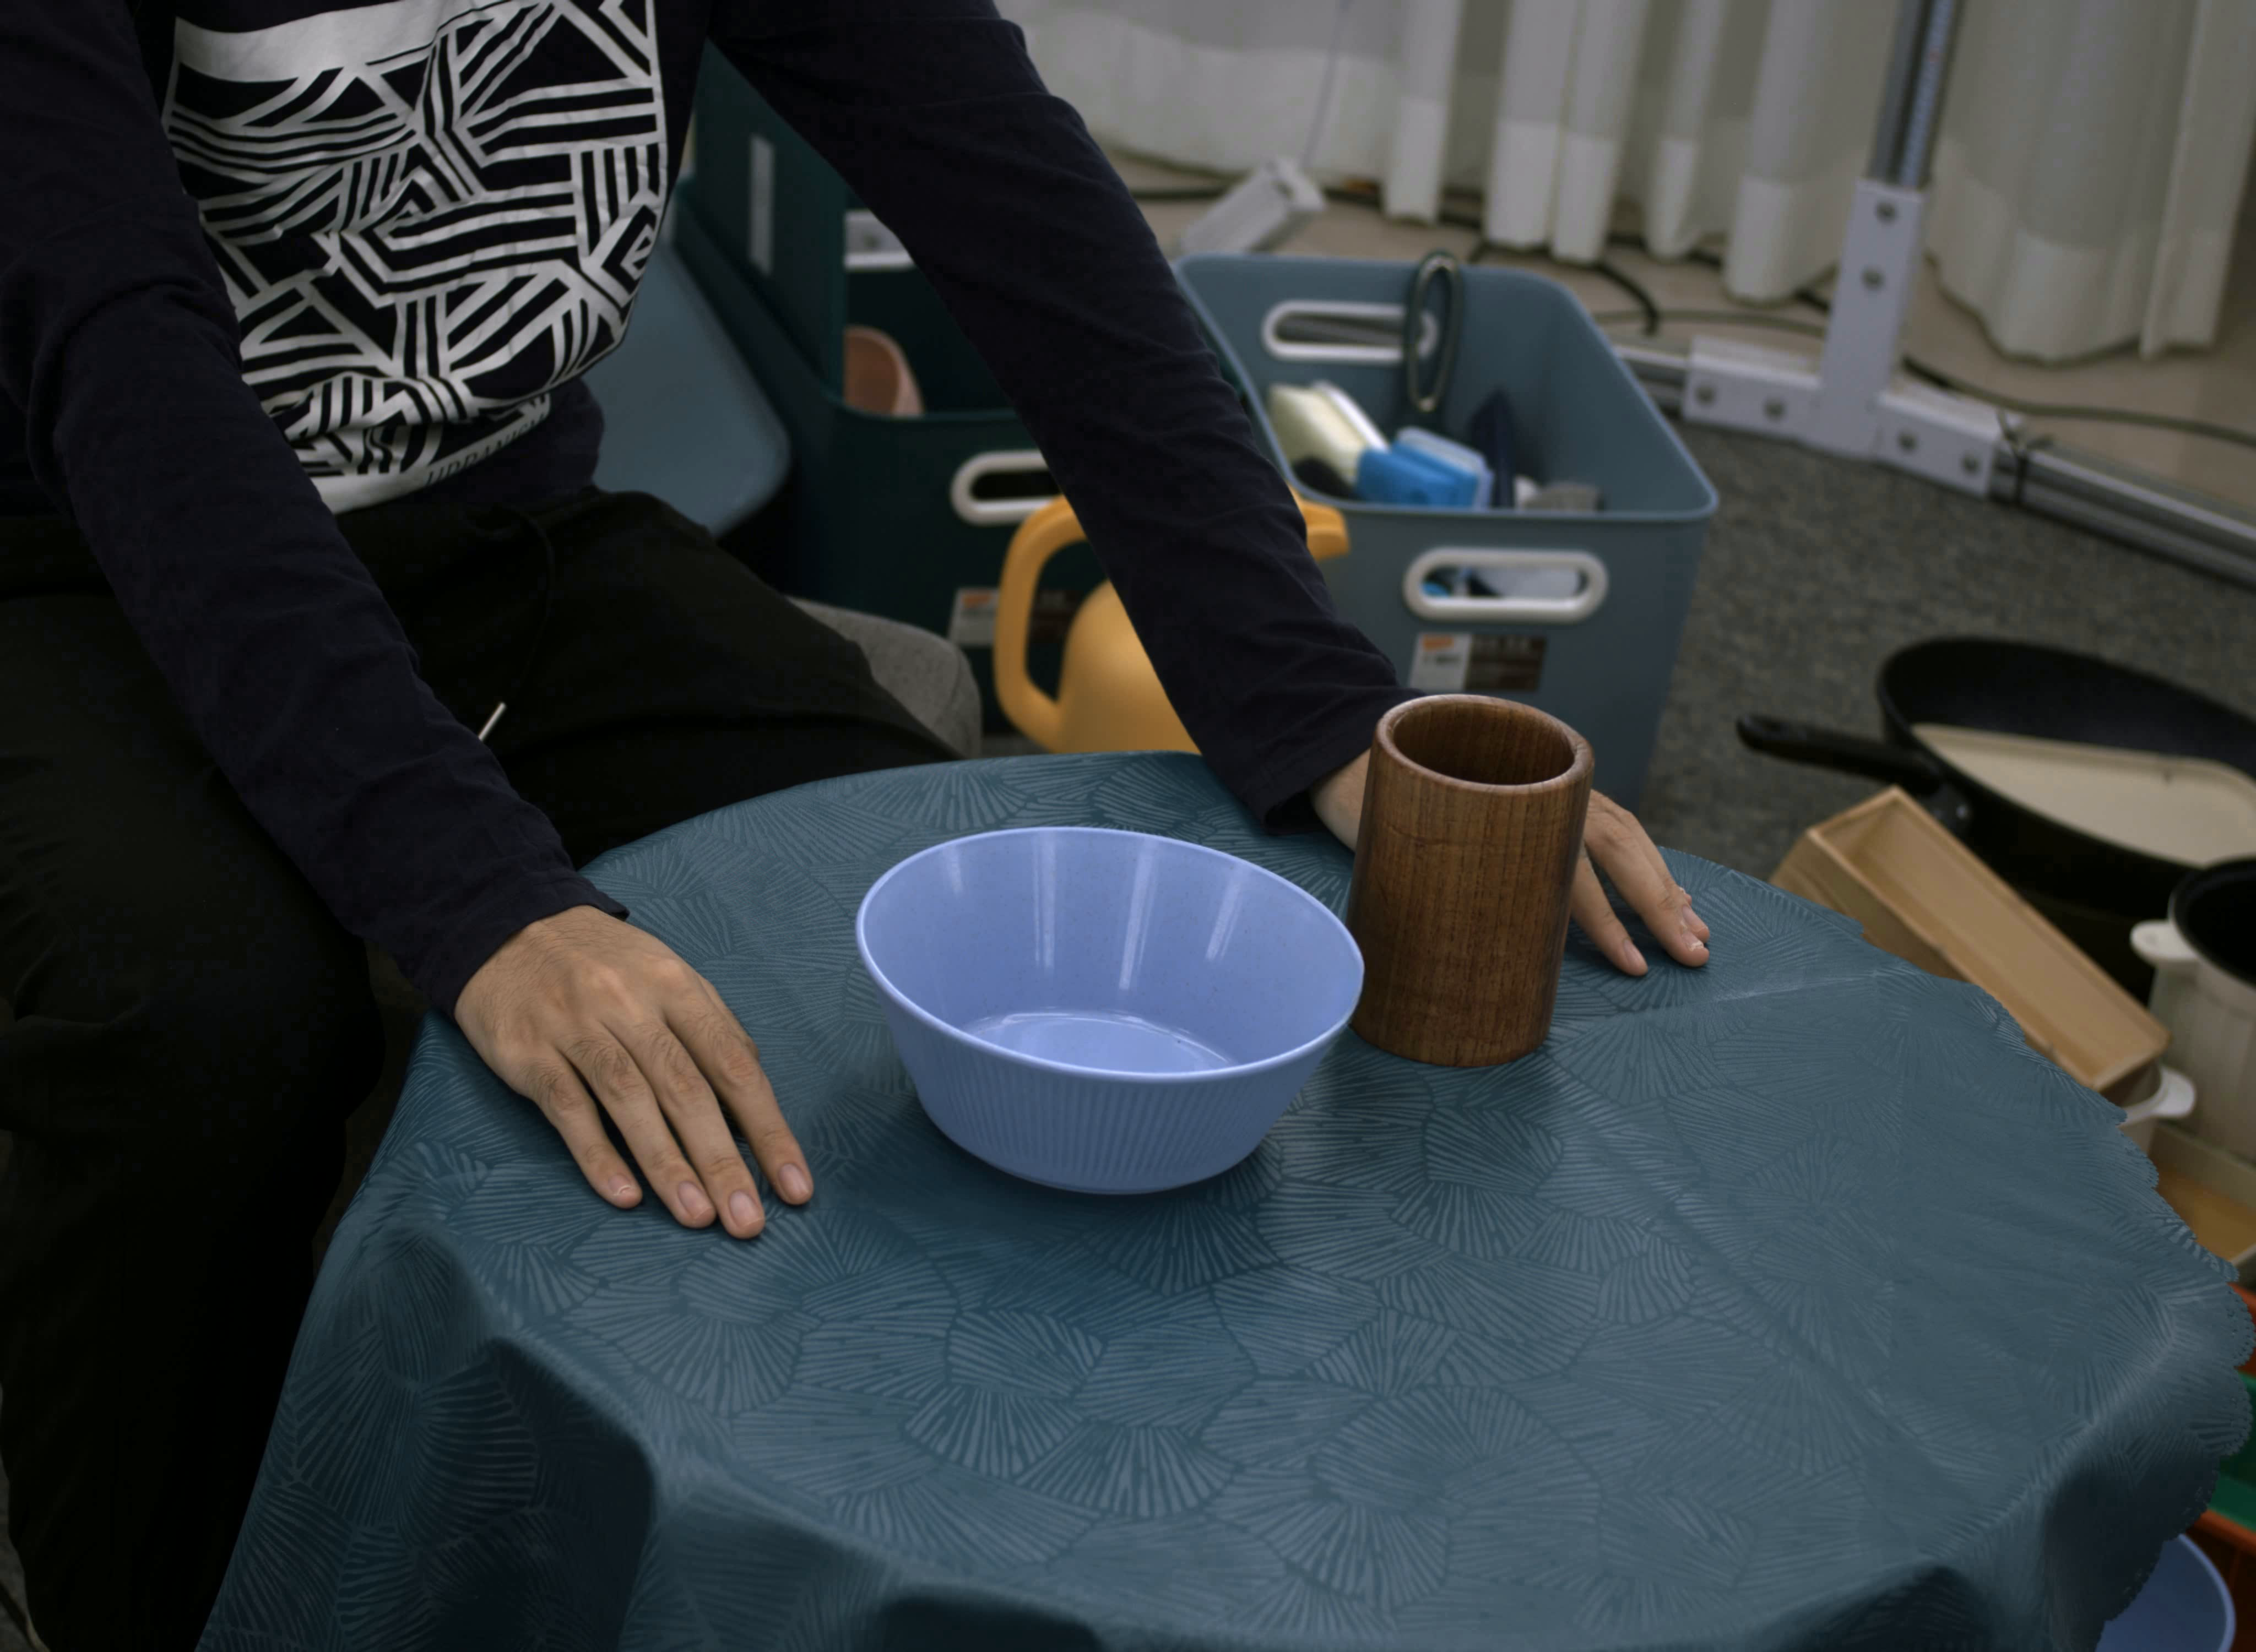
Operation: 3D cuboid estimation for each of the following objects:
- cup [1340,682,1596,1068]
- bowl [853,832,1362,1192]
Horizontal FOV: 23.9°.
[{"bbox_3d":[0.121,0.018,1.913,0.087,0.118,0.088,5,24,-2],"label":"cup"},{"bbox_3d":[-0.010,0.069,1.834,0.175,0.070,0.177,5,26,-3],"label":"bowl"}]
